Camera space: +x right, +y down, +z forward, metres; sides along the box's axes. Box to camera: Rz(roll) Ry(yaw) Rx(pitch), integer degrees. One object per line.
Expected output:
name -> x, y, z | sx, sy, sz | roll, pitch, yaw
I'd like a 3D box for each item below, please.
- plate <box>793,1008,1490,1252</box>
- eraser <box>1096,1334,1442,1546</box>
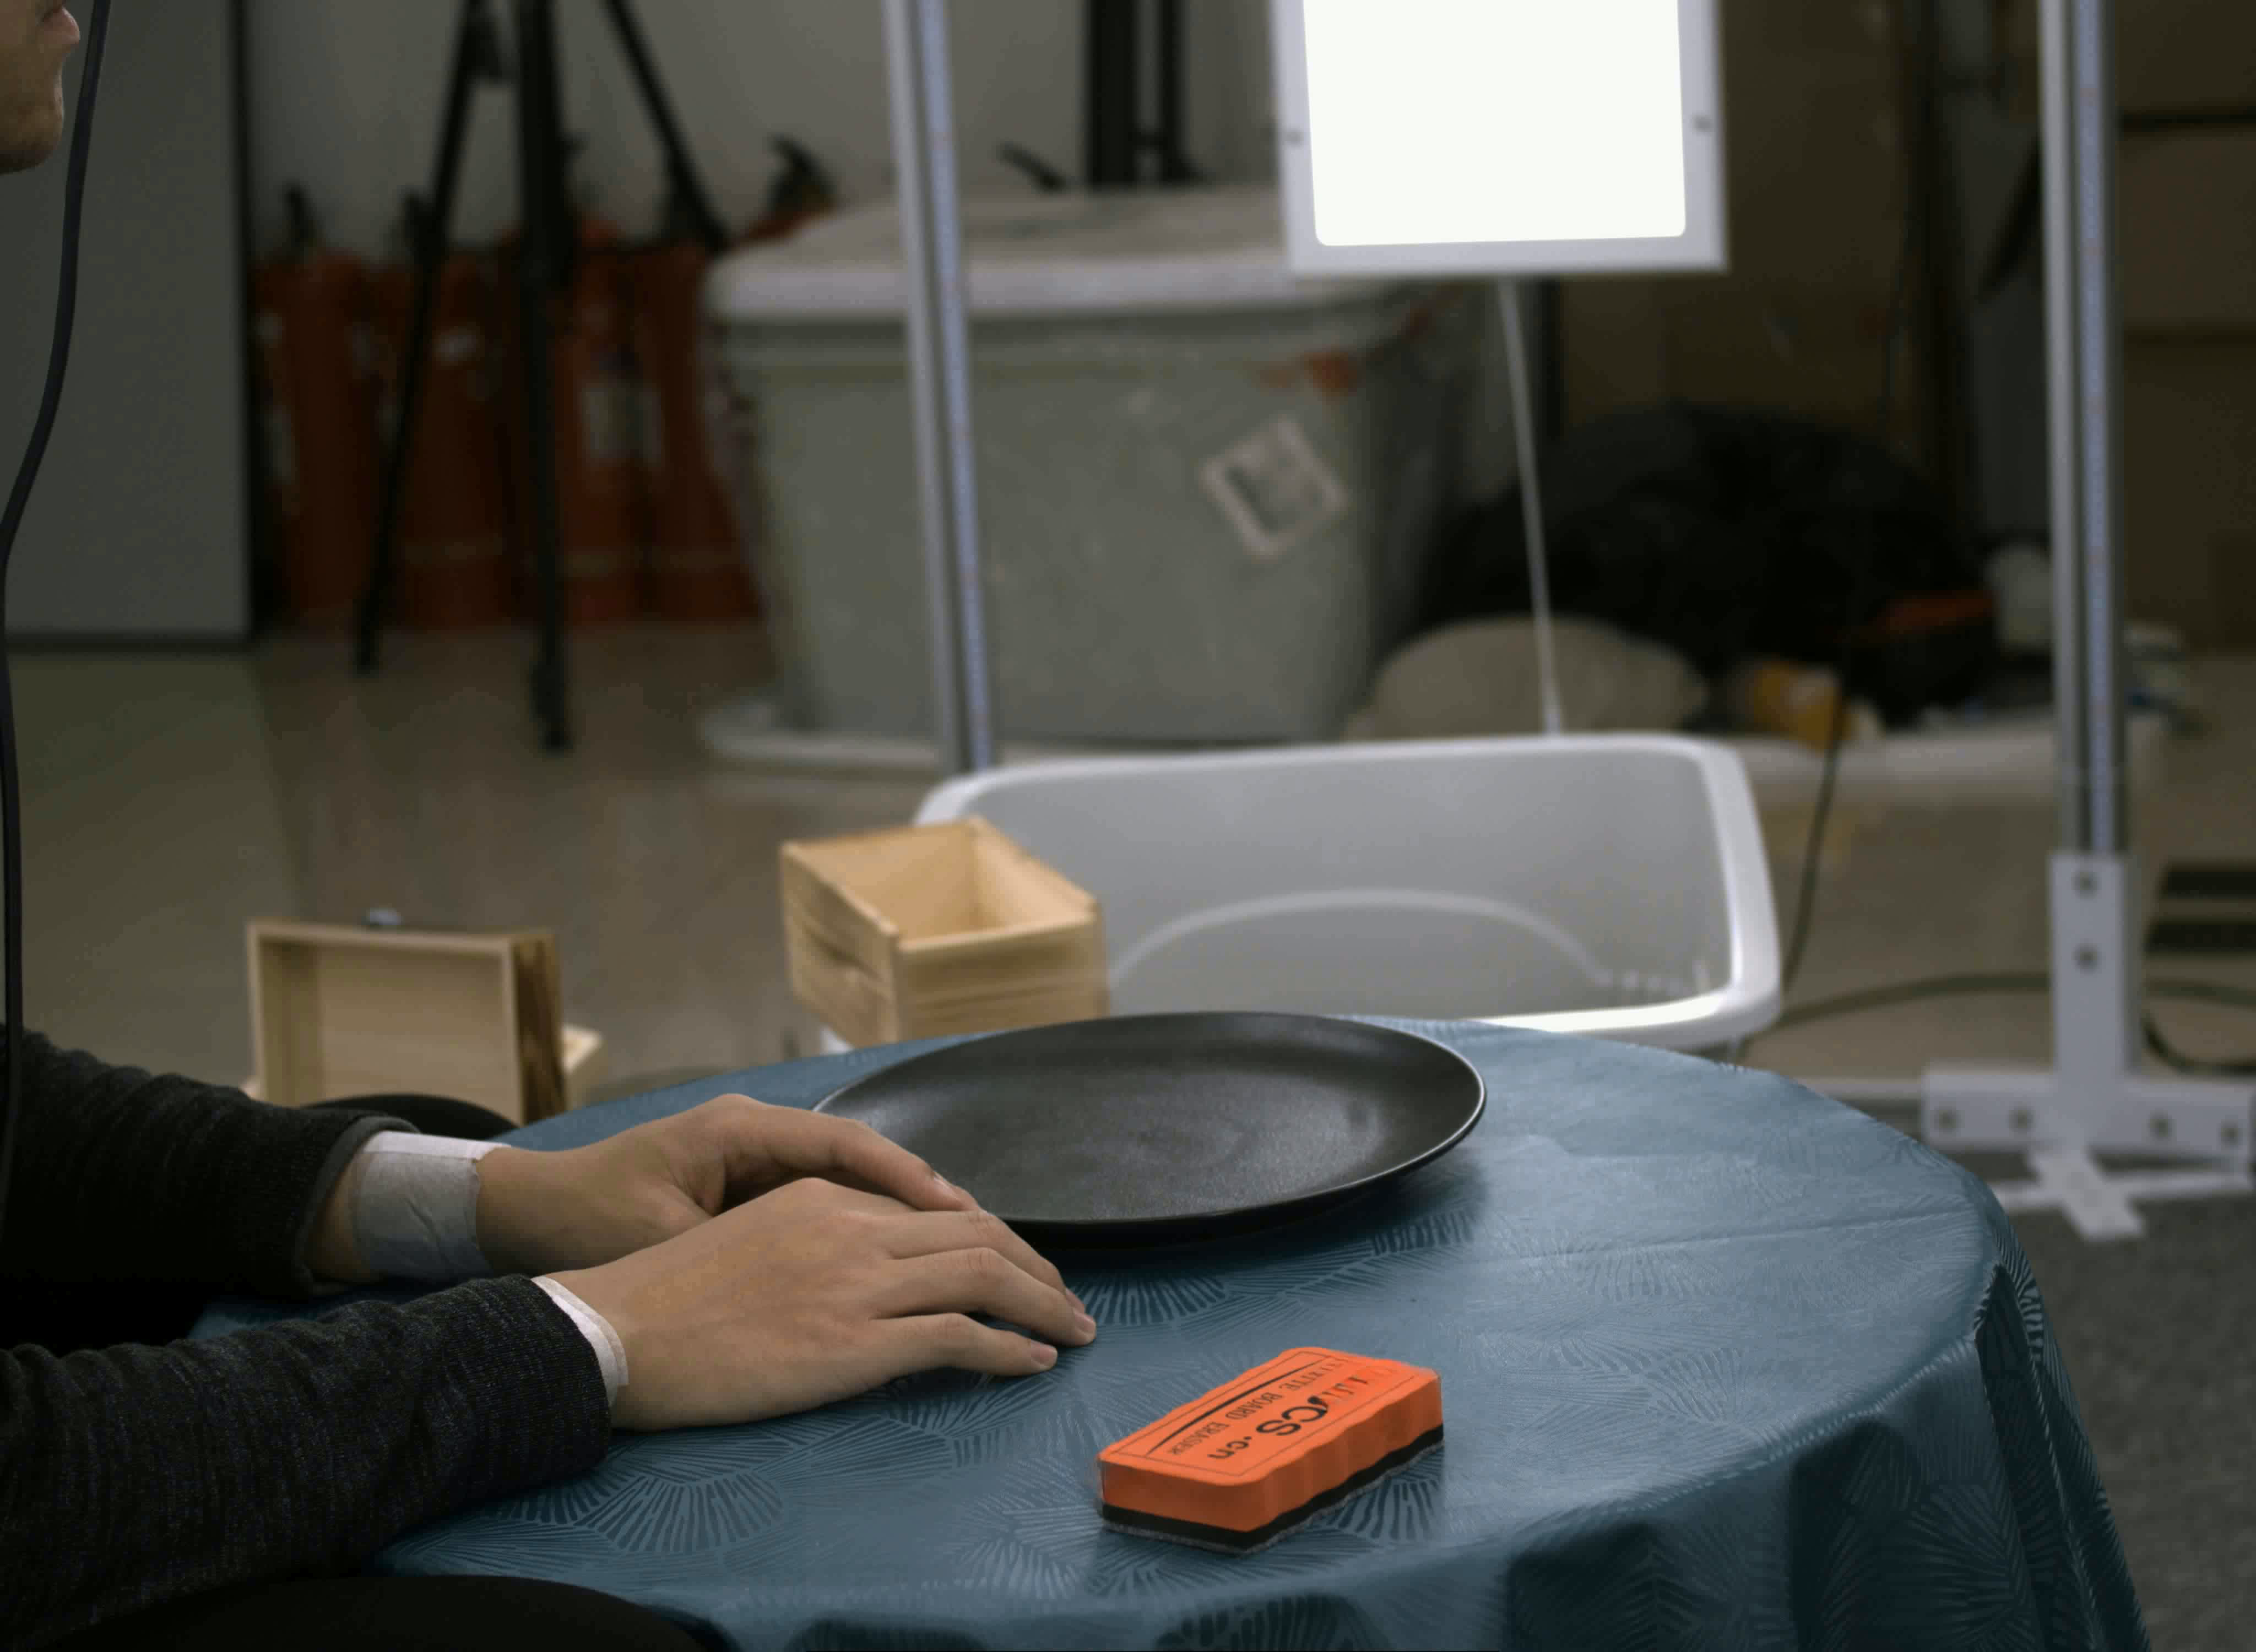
plate -> 0.005, 0.109, 1.921 | 0.244, 0.023, 0.244 | -5, 14, 0
eraser -> 0.042, 0.178, 1.608 | 0.060, 0.023, 0.105 | 4, 18, 39
